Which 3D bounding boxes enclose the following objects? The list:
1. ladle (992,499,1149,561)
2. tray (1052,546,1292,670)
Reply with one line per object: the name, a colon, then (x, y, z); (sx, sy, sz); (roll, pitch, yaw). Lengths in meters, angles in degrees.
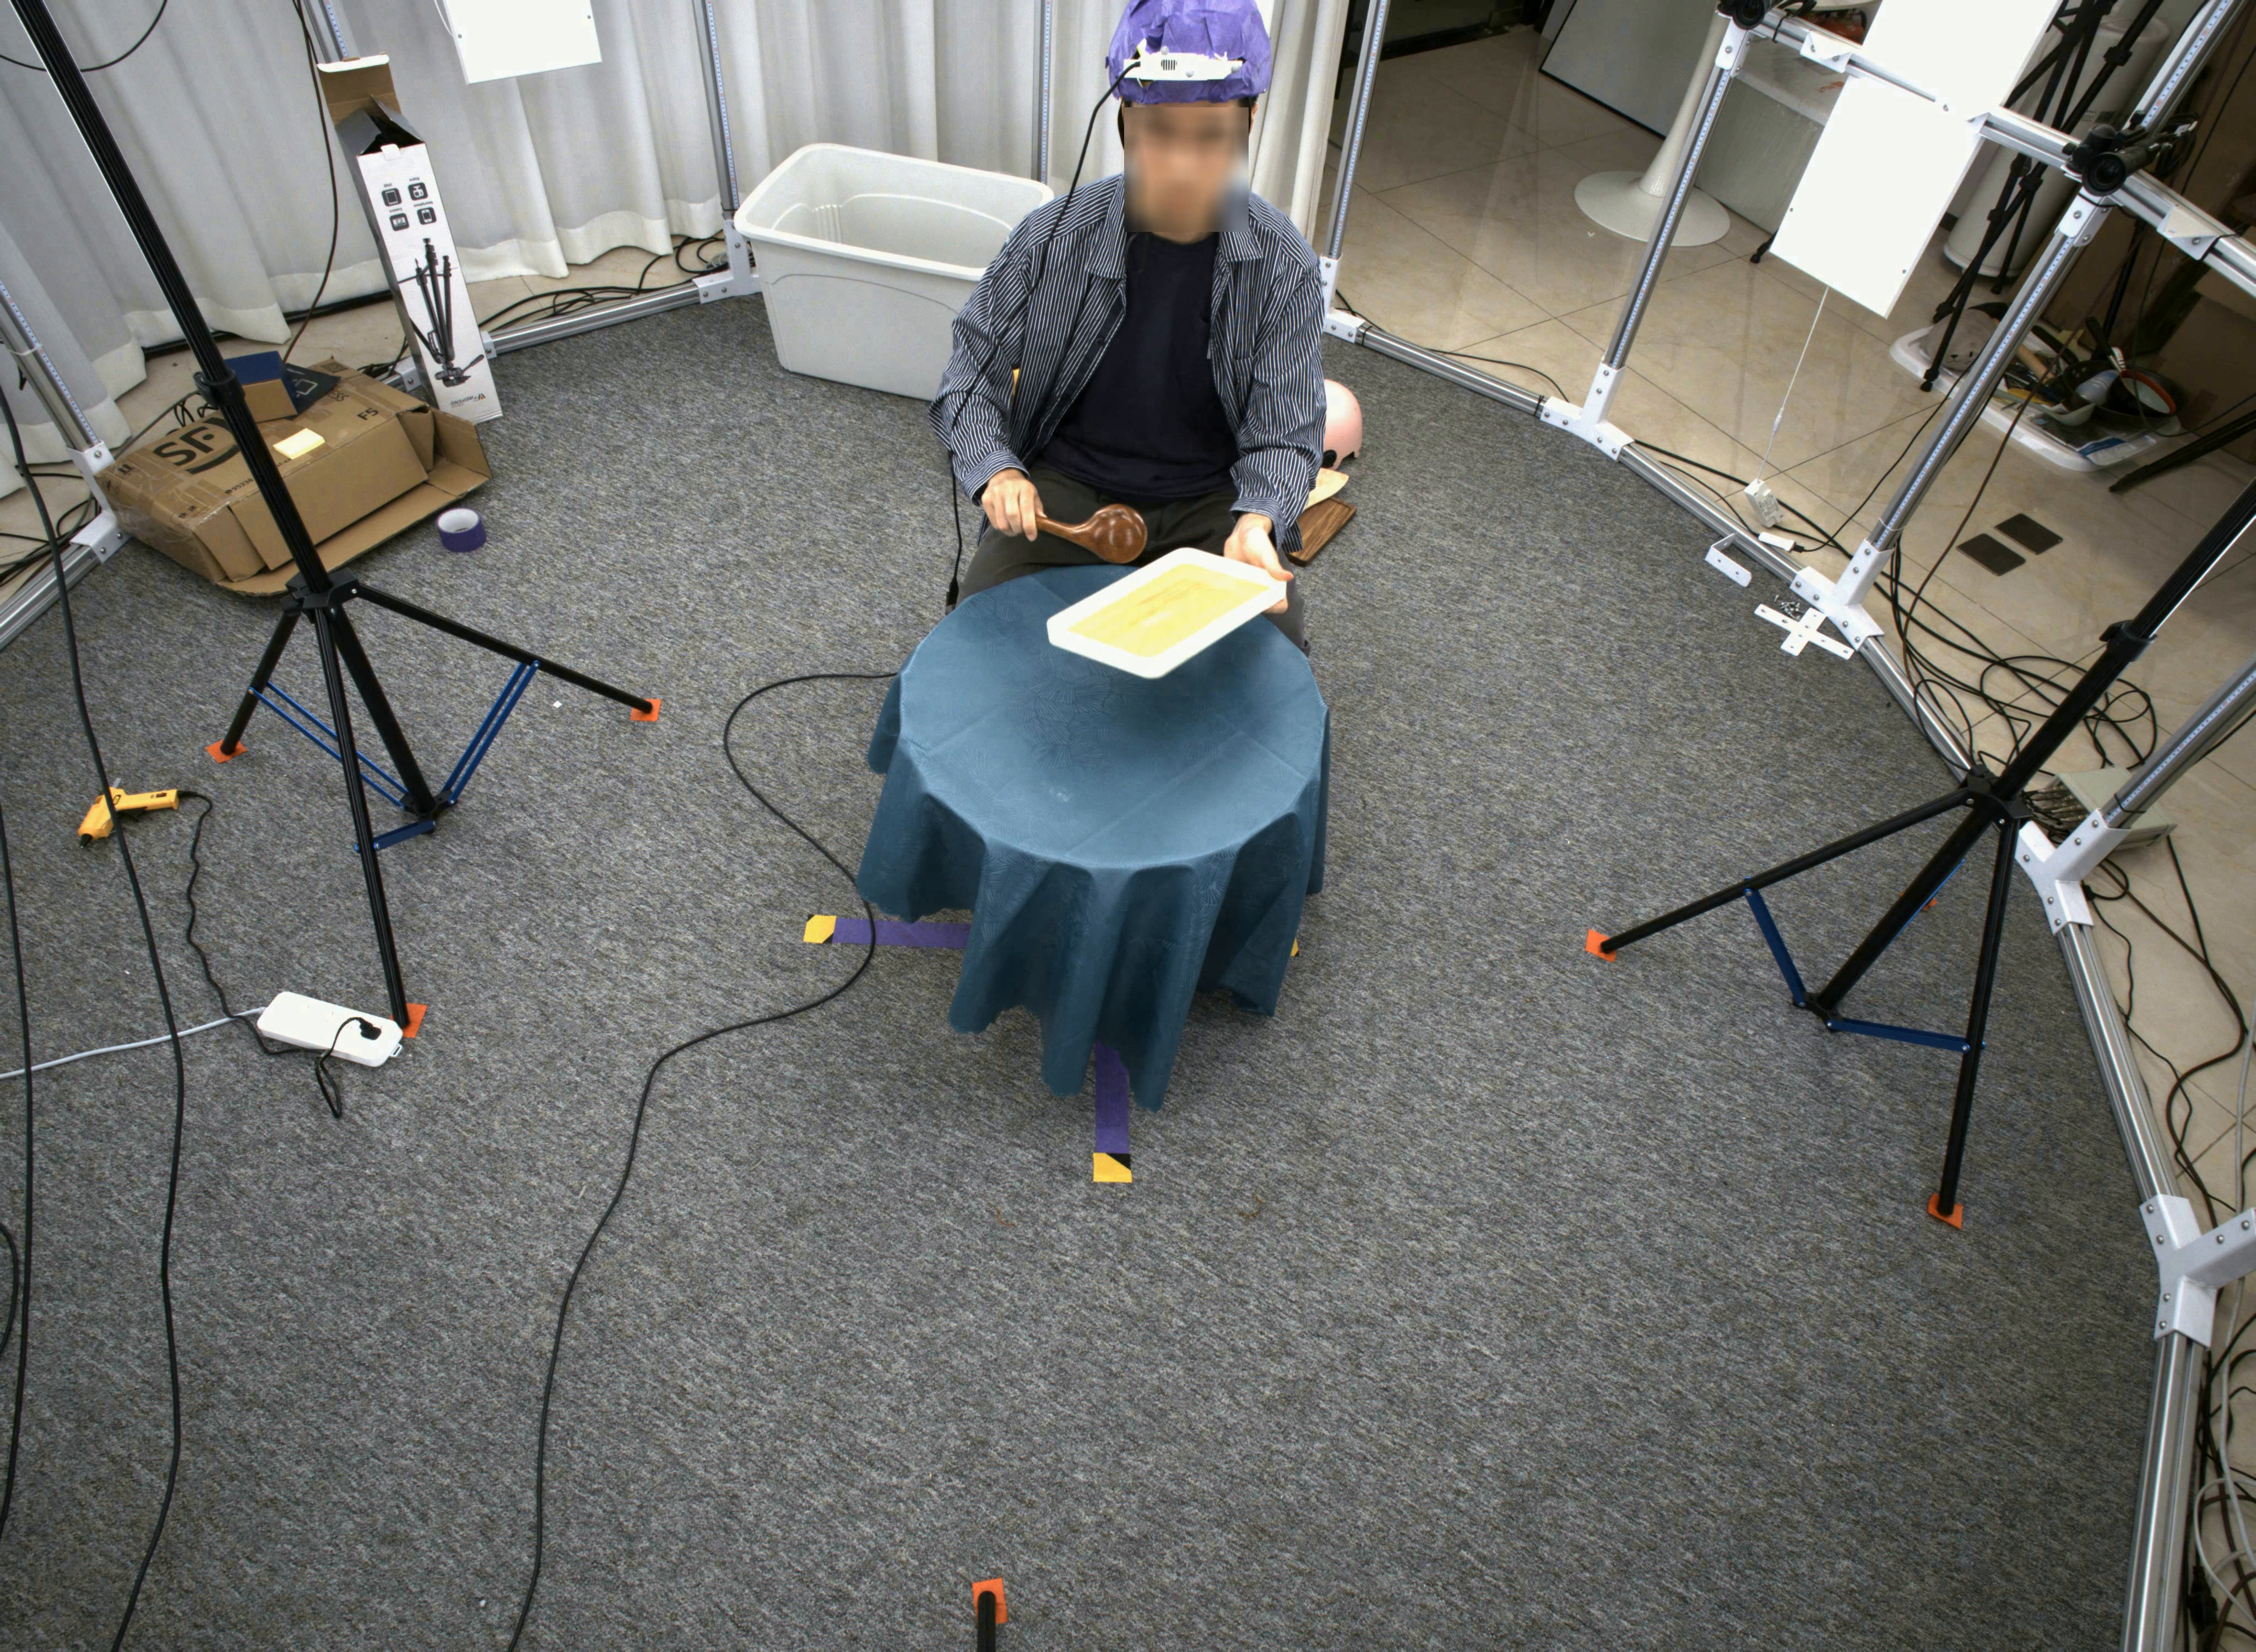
ladle: (-0.081, -0.425, 1.795); (0.077, 0.080, 0.278); (-18, 28, -36)
tray: (0.062, -0.298, 1.722); (0.194, 0.027, 0.303); (24, 42, 34)
